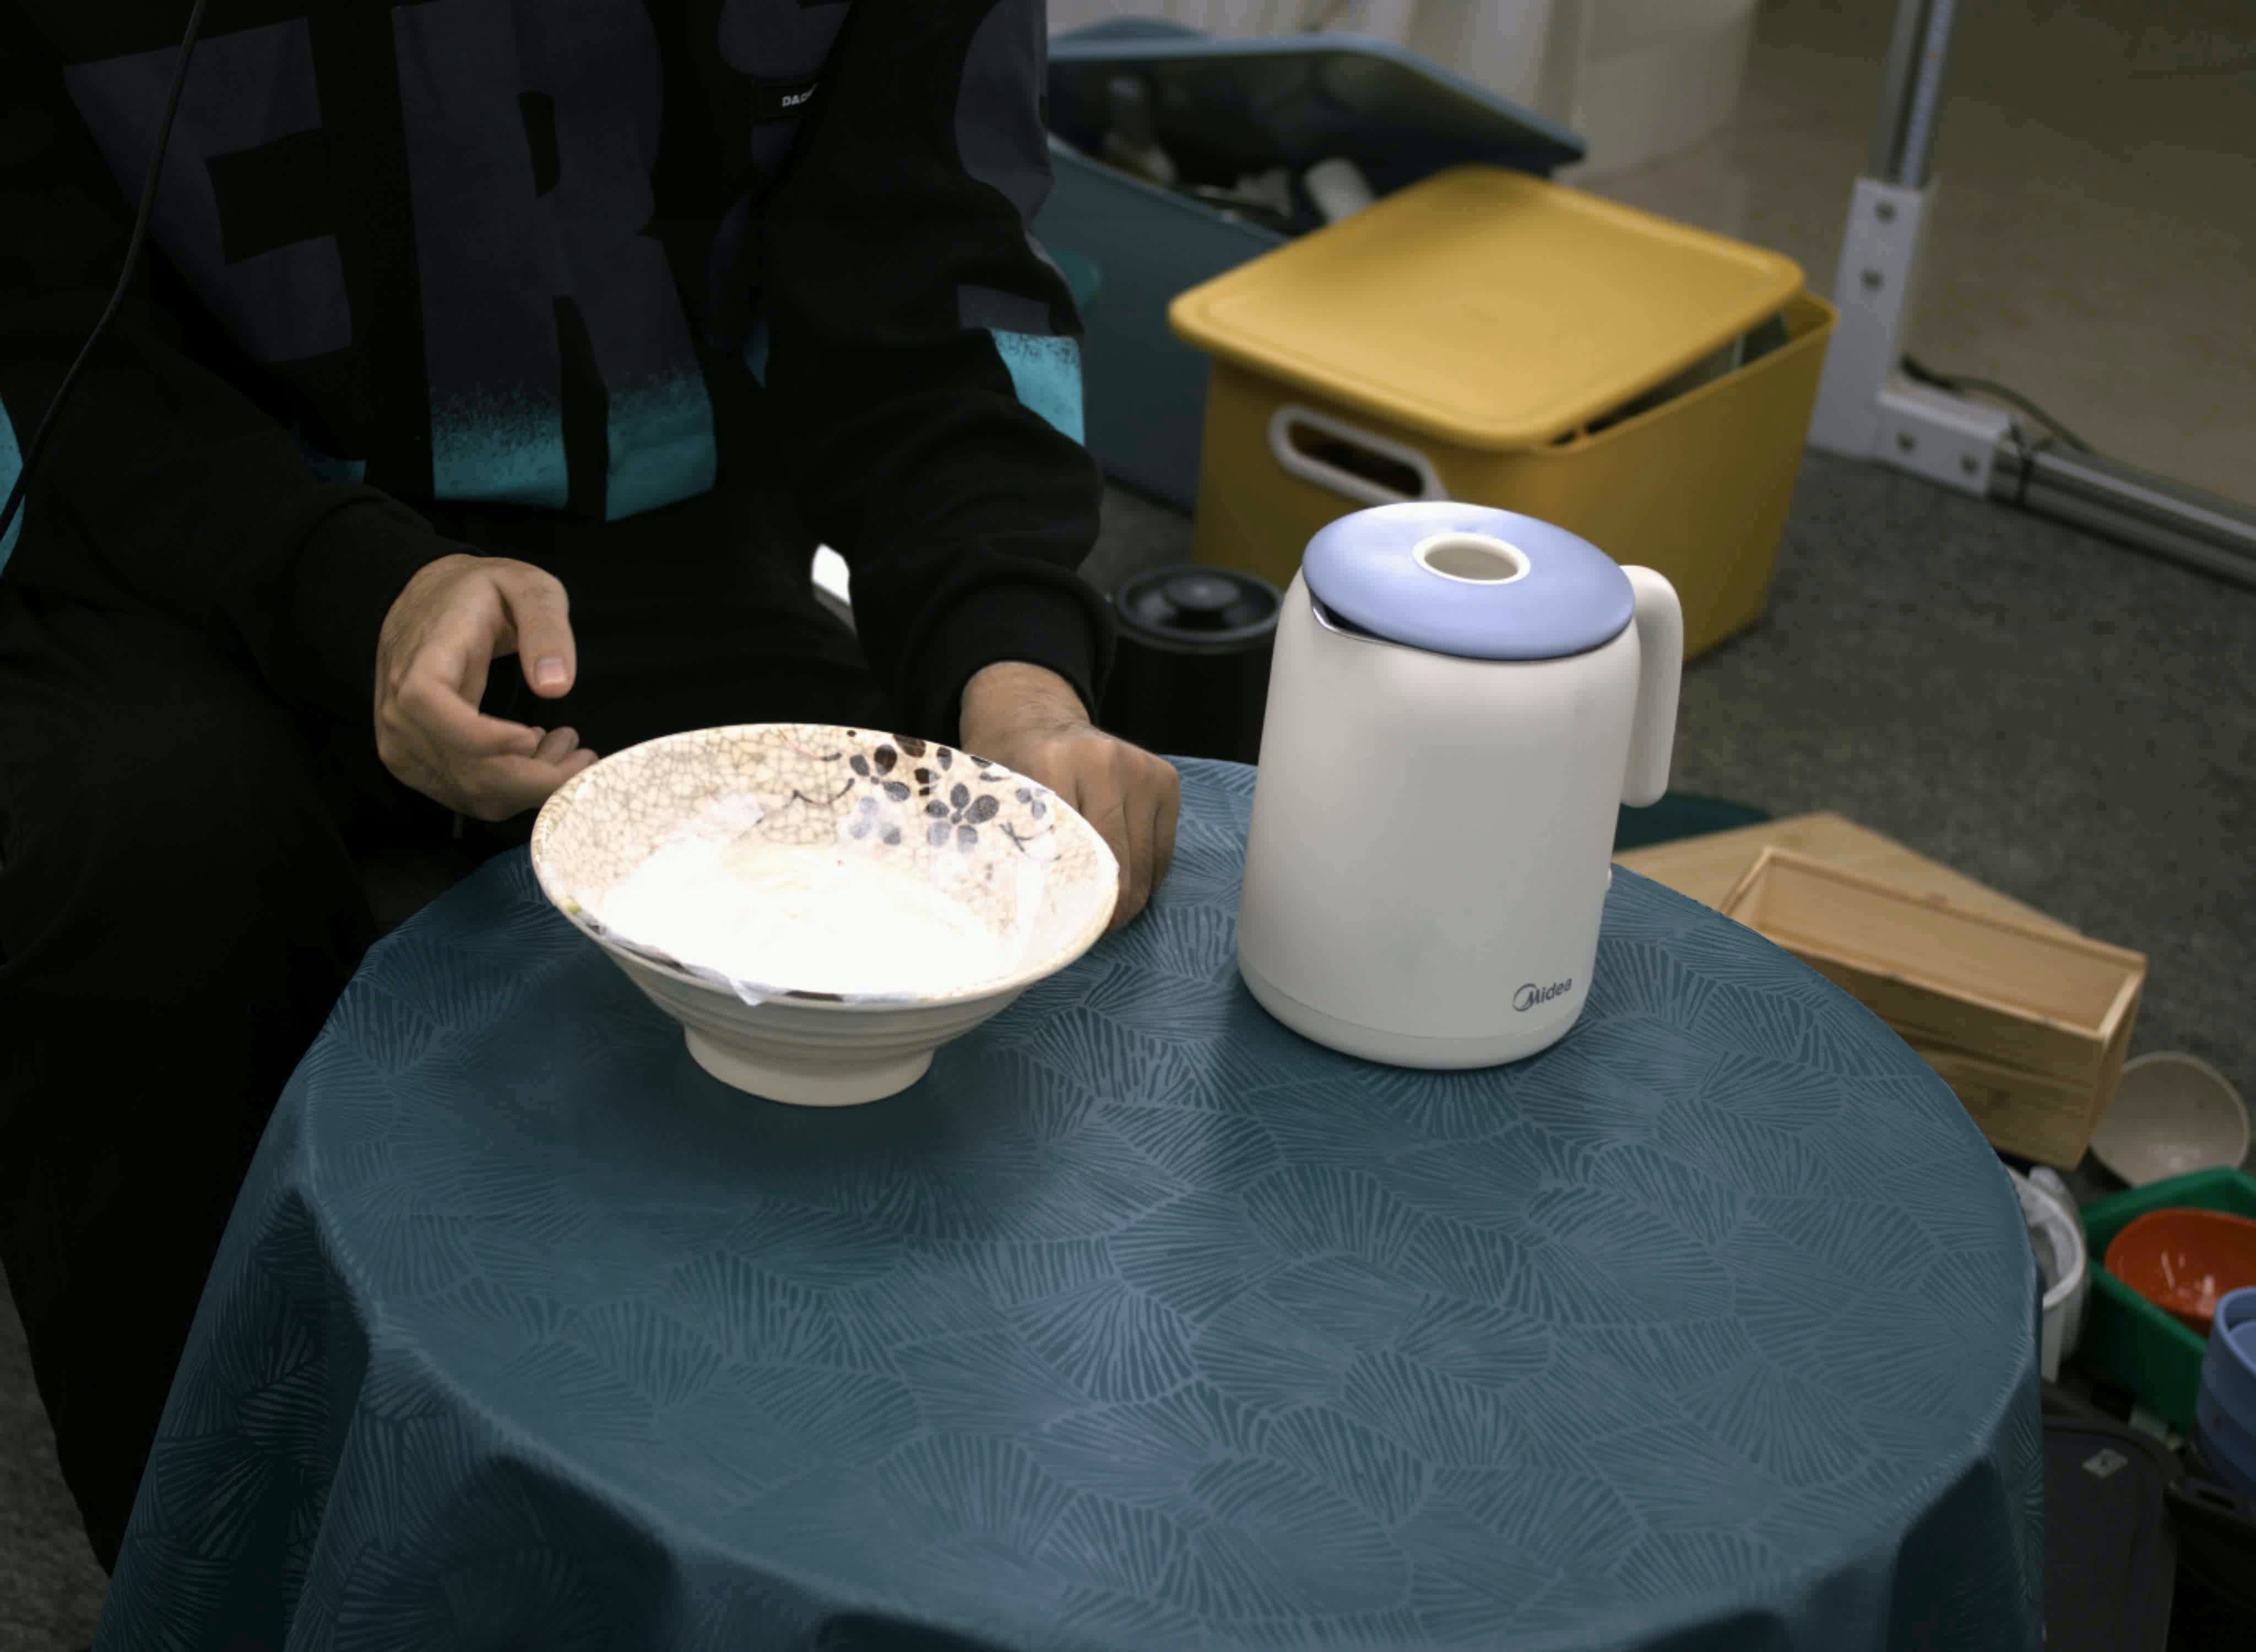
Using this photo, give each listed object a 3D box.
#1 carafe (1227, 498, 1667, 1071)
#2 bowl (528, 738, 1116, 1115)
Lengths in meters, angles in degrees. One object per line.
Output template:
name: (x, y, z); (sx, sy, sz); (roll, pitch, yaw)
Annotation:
carafe: (0.127, -0.020, 1.923); (0.190, 0.182, 0.133); (-15, 35, -41)
bowl: (-0.108, 0.046, 1.846); (0.203, 0.078, 0.205); (5, 25, -3)
